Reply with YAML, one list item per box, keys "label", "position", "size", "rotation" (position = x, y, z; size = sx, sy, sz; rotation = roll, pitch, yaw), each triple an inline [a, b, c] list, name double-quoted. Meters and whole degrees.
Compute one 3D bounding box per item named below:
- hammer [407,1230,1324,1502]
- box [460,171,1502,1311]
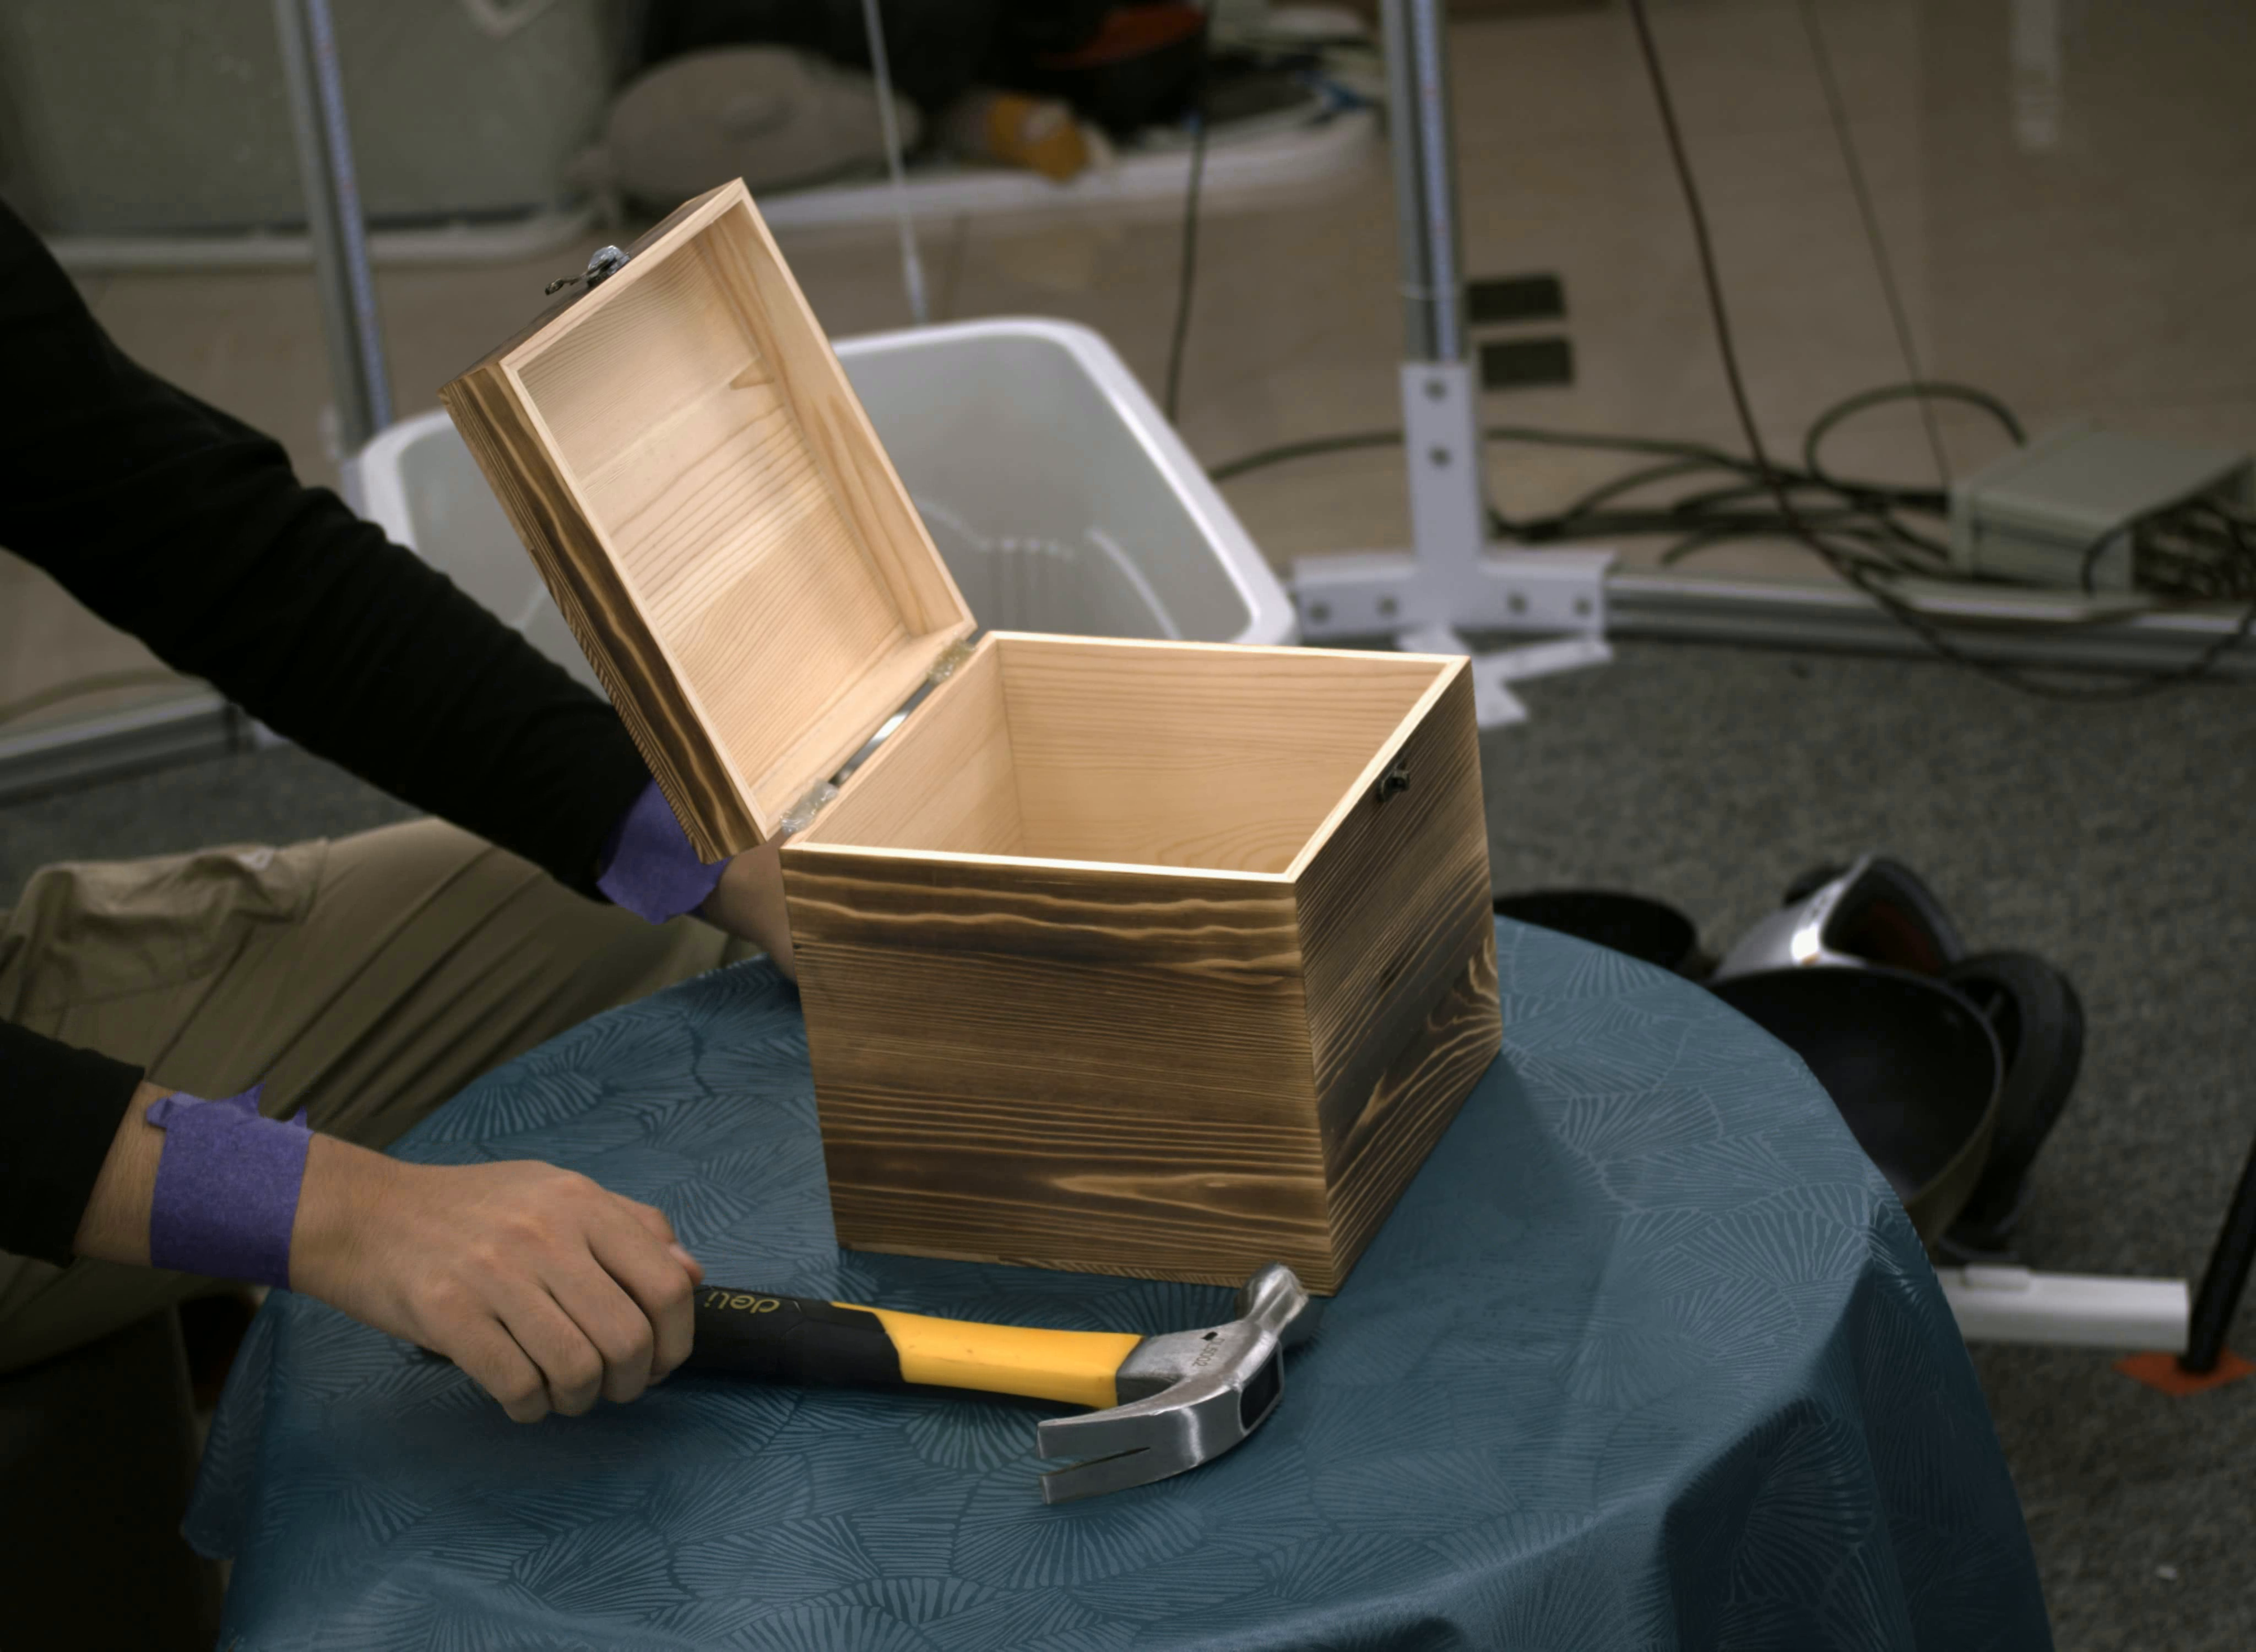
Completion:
- label: "hammer"
  position: [-0.108, 0.180, 2.043]
  size: [0.337, 0.033, 0.129]
  rotation: [6, 28, 23]
- label: "box"
  position: [-0.048, -0.040, 2.117]
  size: [0.321, 0.381, 0.206]
  rotation: [4, 28, 22]
